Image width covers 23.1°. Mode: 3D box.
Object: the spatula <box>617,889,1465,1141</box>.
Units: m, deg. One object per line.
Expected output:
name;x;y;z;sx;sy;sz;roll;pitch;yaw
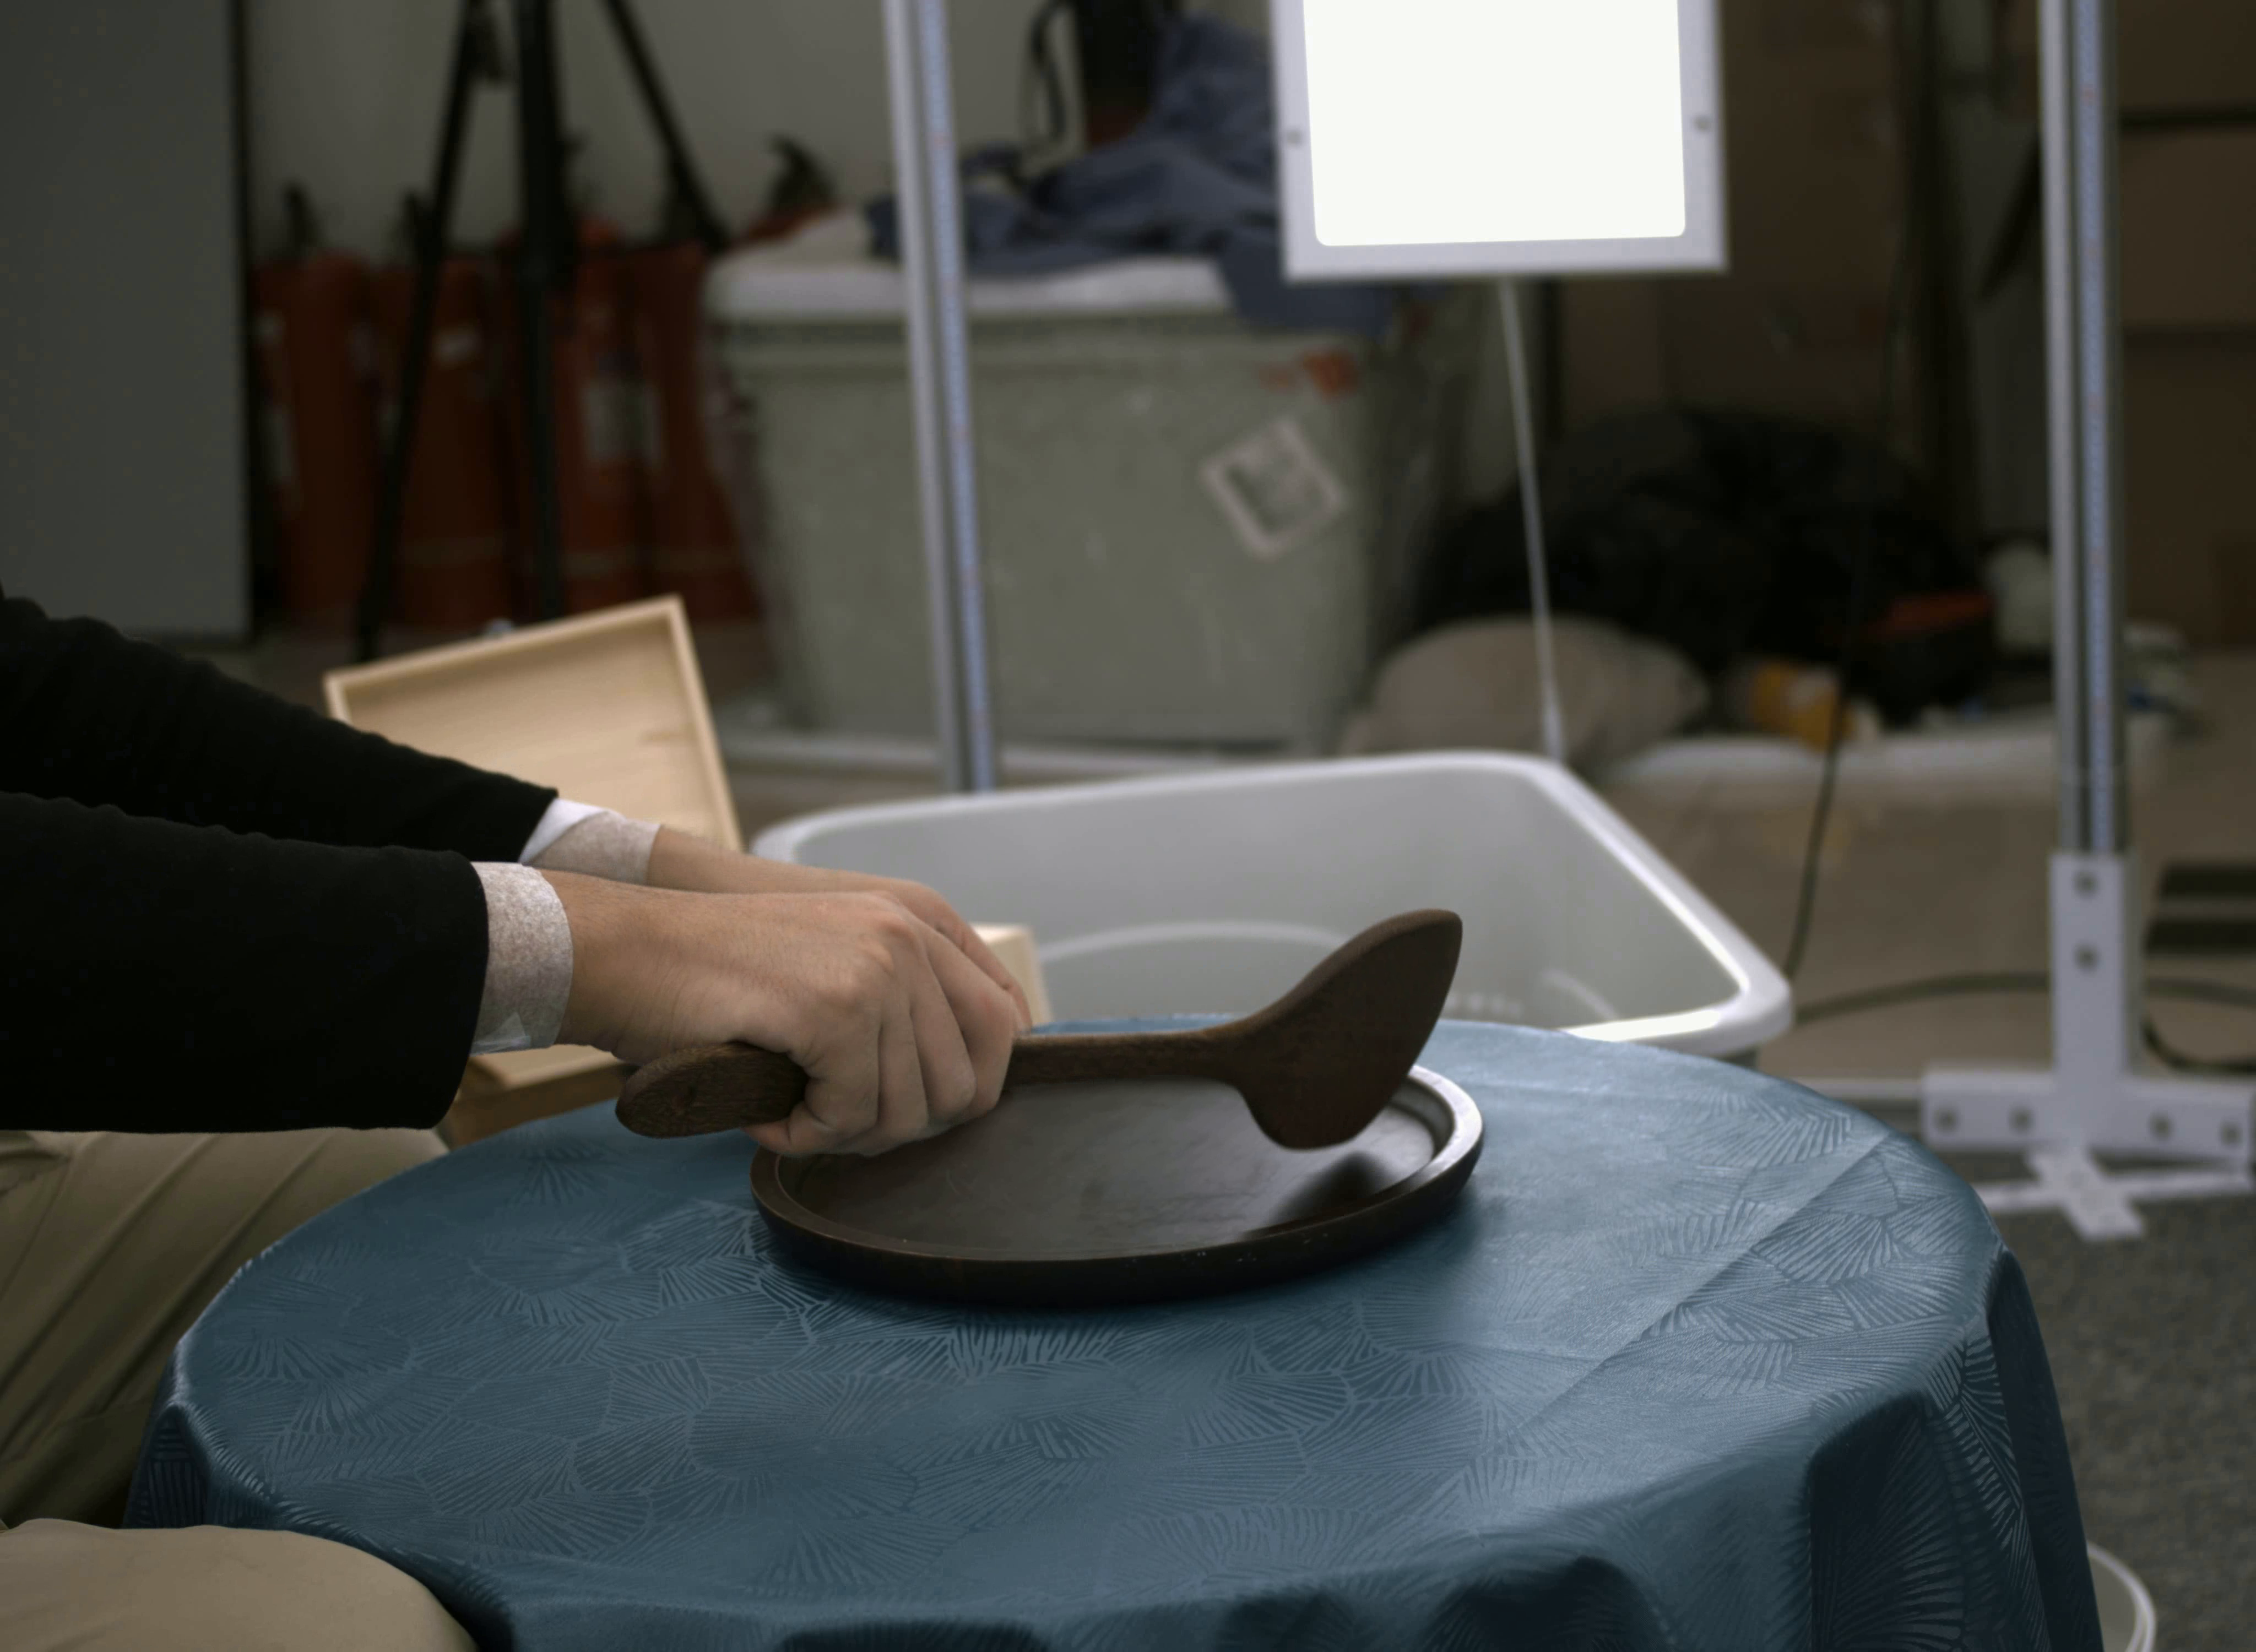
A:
spatula;-0.021;0.069;1.742;0.376;0.097;0.016;-2;33;-46

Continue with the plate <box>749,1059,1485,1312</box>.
plate;-0.003;0.117;1.887;0.254;0.029;0.254;-5;15;0
